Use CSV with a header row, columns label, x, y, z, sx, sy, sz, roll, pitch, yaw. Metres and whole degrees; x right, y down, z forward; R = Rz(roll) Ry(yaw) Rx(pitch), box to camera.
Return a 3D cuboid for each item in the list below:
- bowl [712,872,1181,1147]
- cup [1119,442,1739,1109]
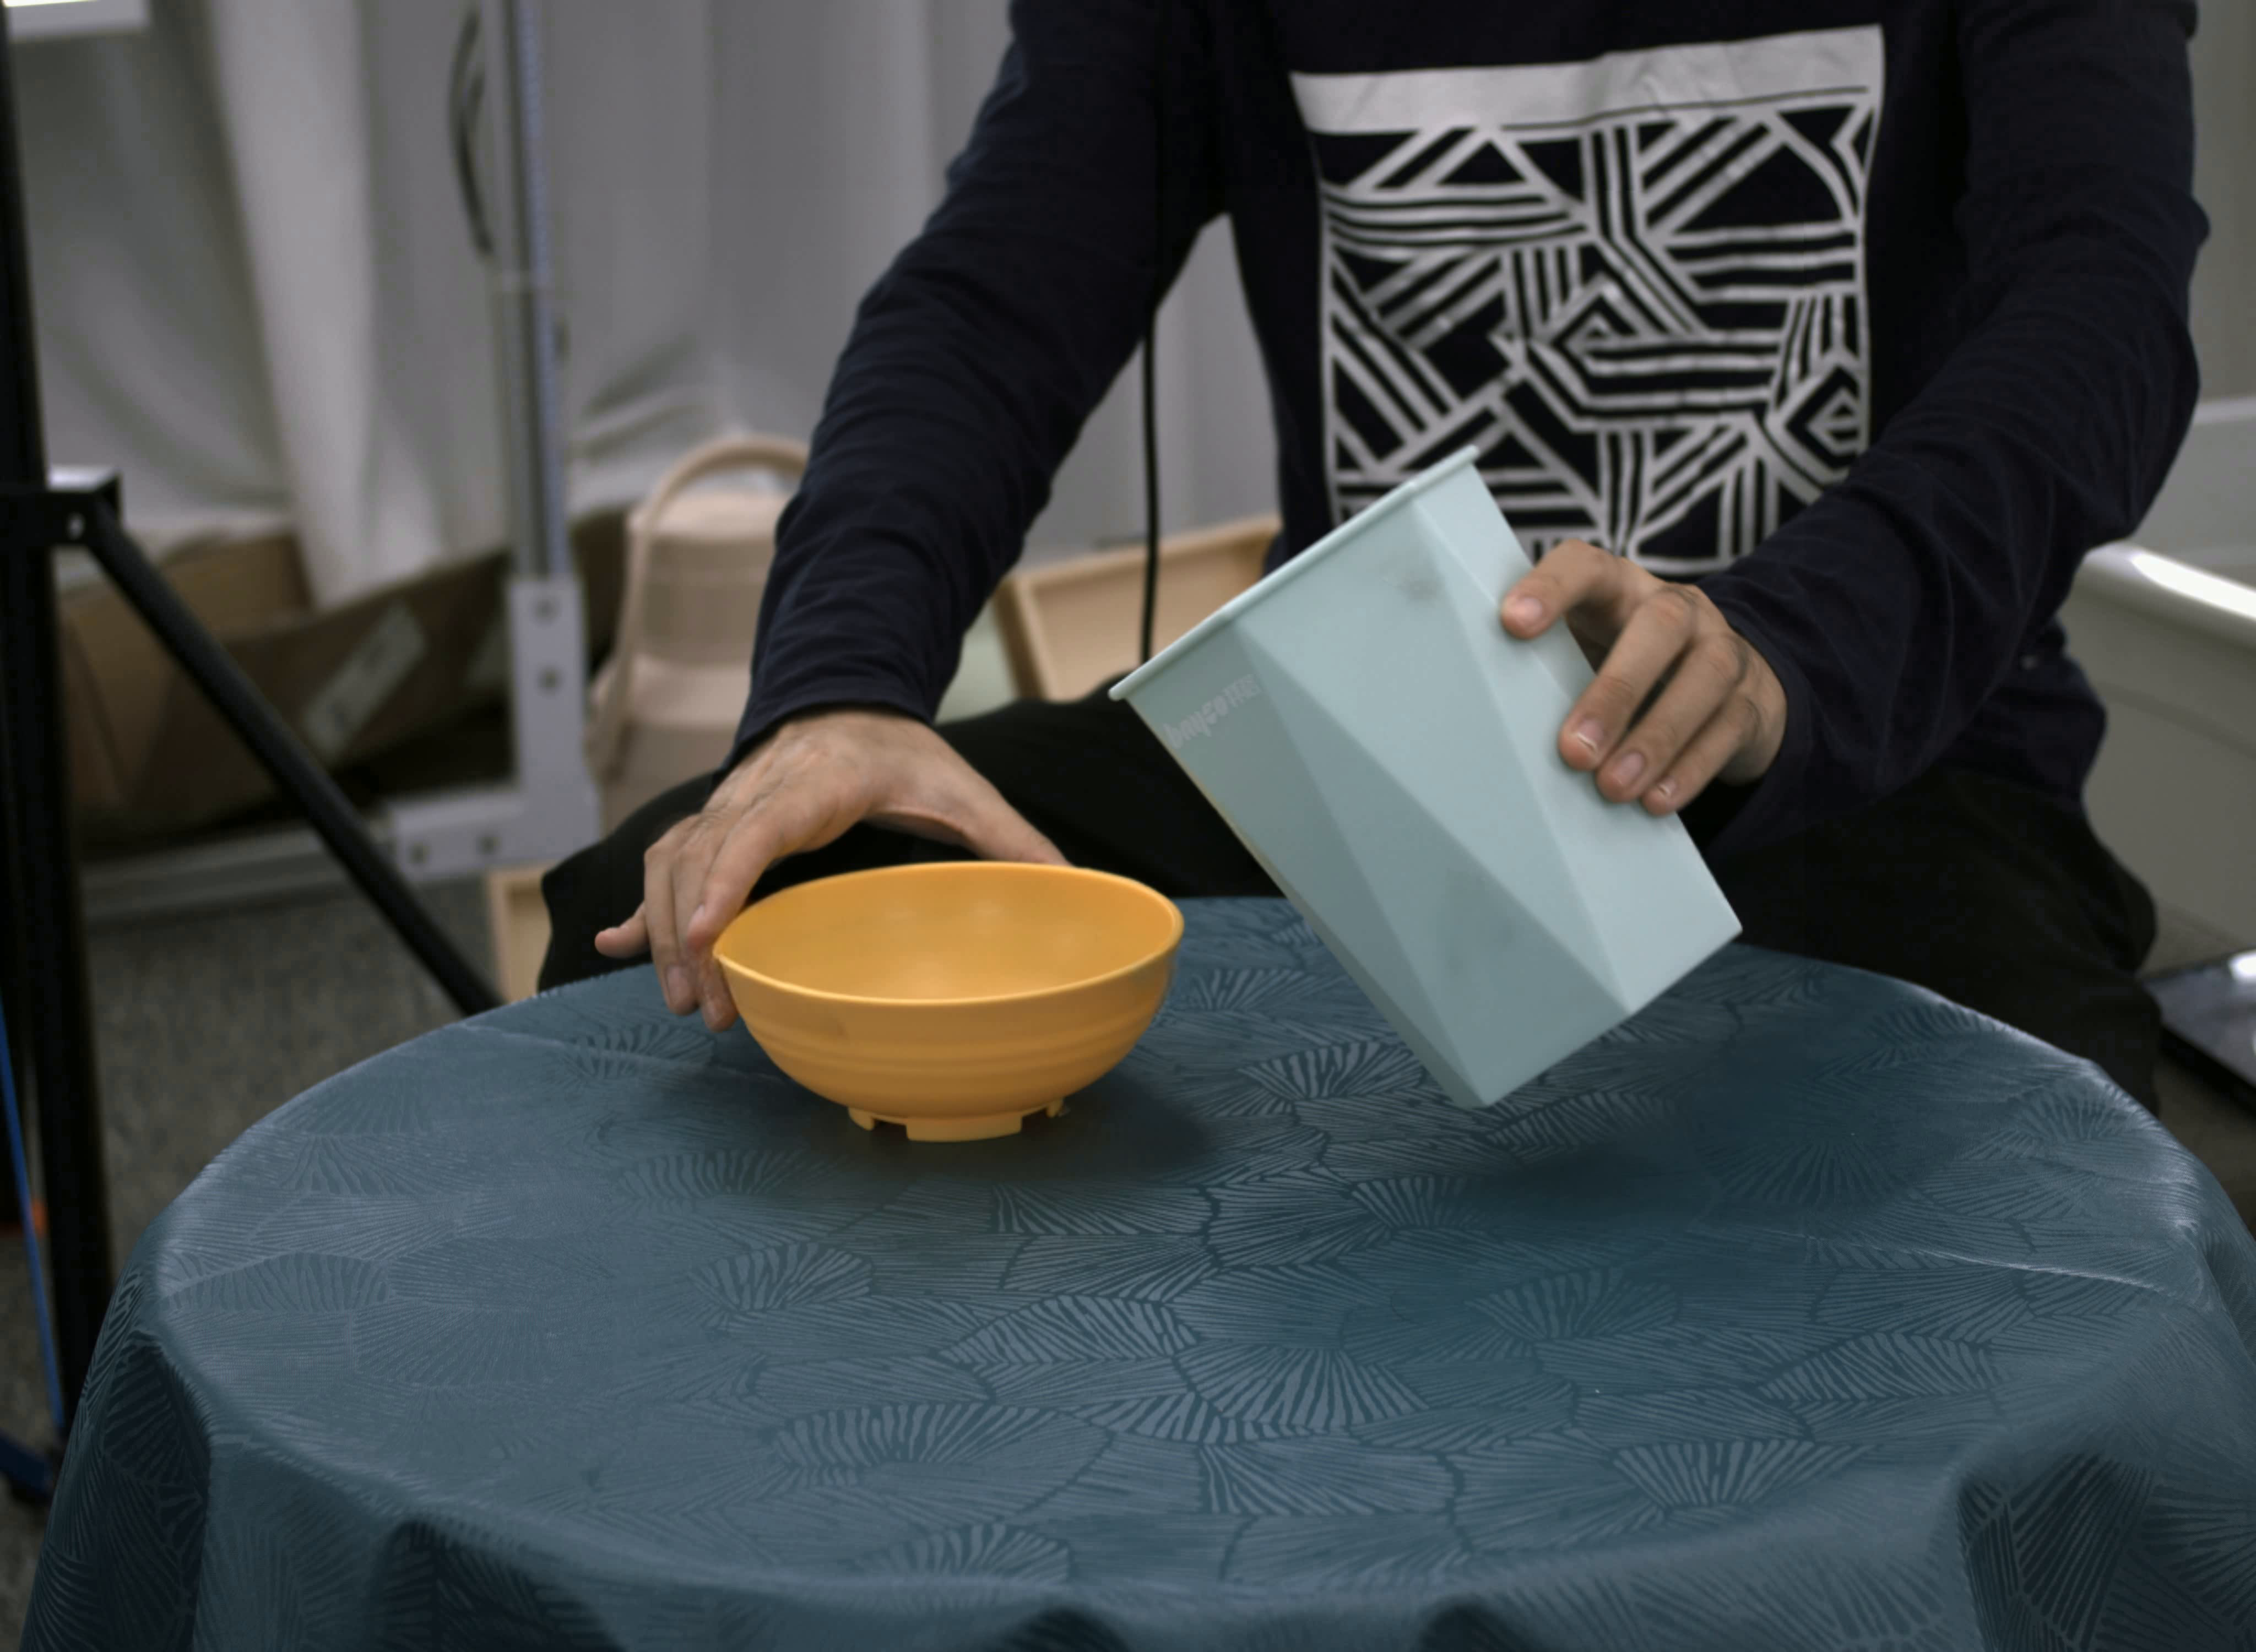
label,x,y,z,sx,sy,sz,roll,pitch,yaw
bowl,-0.055,0.061,1.638,0.144,0.060,0.146,-1,14,-1
cup,0.094,-0.010,1.548,0.113,0.163,0.133,-31,-2,-38
